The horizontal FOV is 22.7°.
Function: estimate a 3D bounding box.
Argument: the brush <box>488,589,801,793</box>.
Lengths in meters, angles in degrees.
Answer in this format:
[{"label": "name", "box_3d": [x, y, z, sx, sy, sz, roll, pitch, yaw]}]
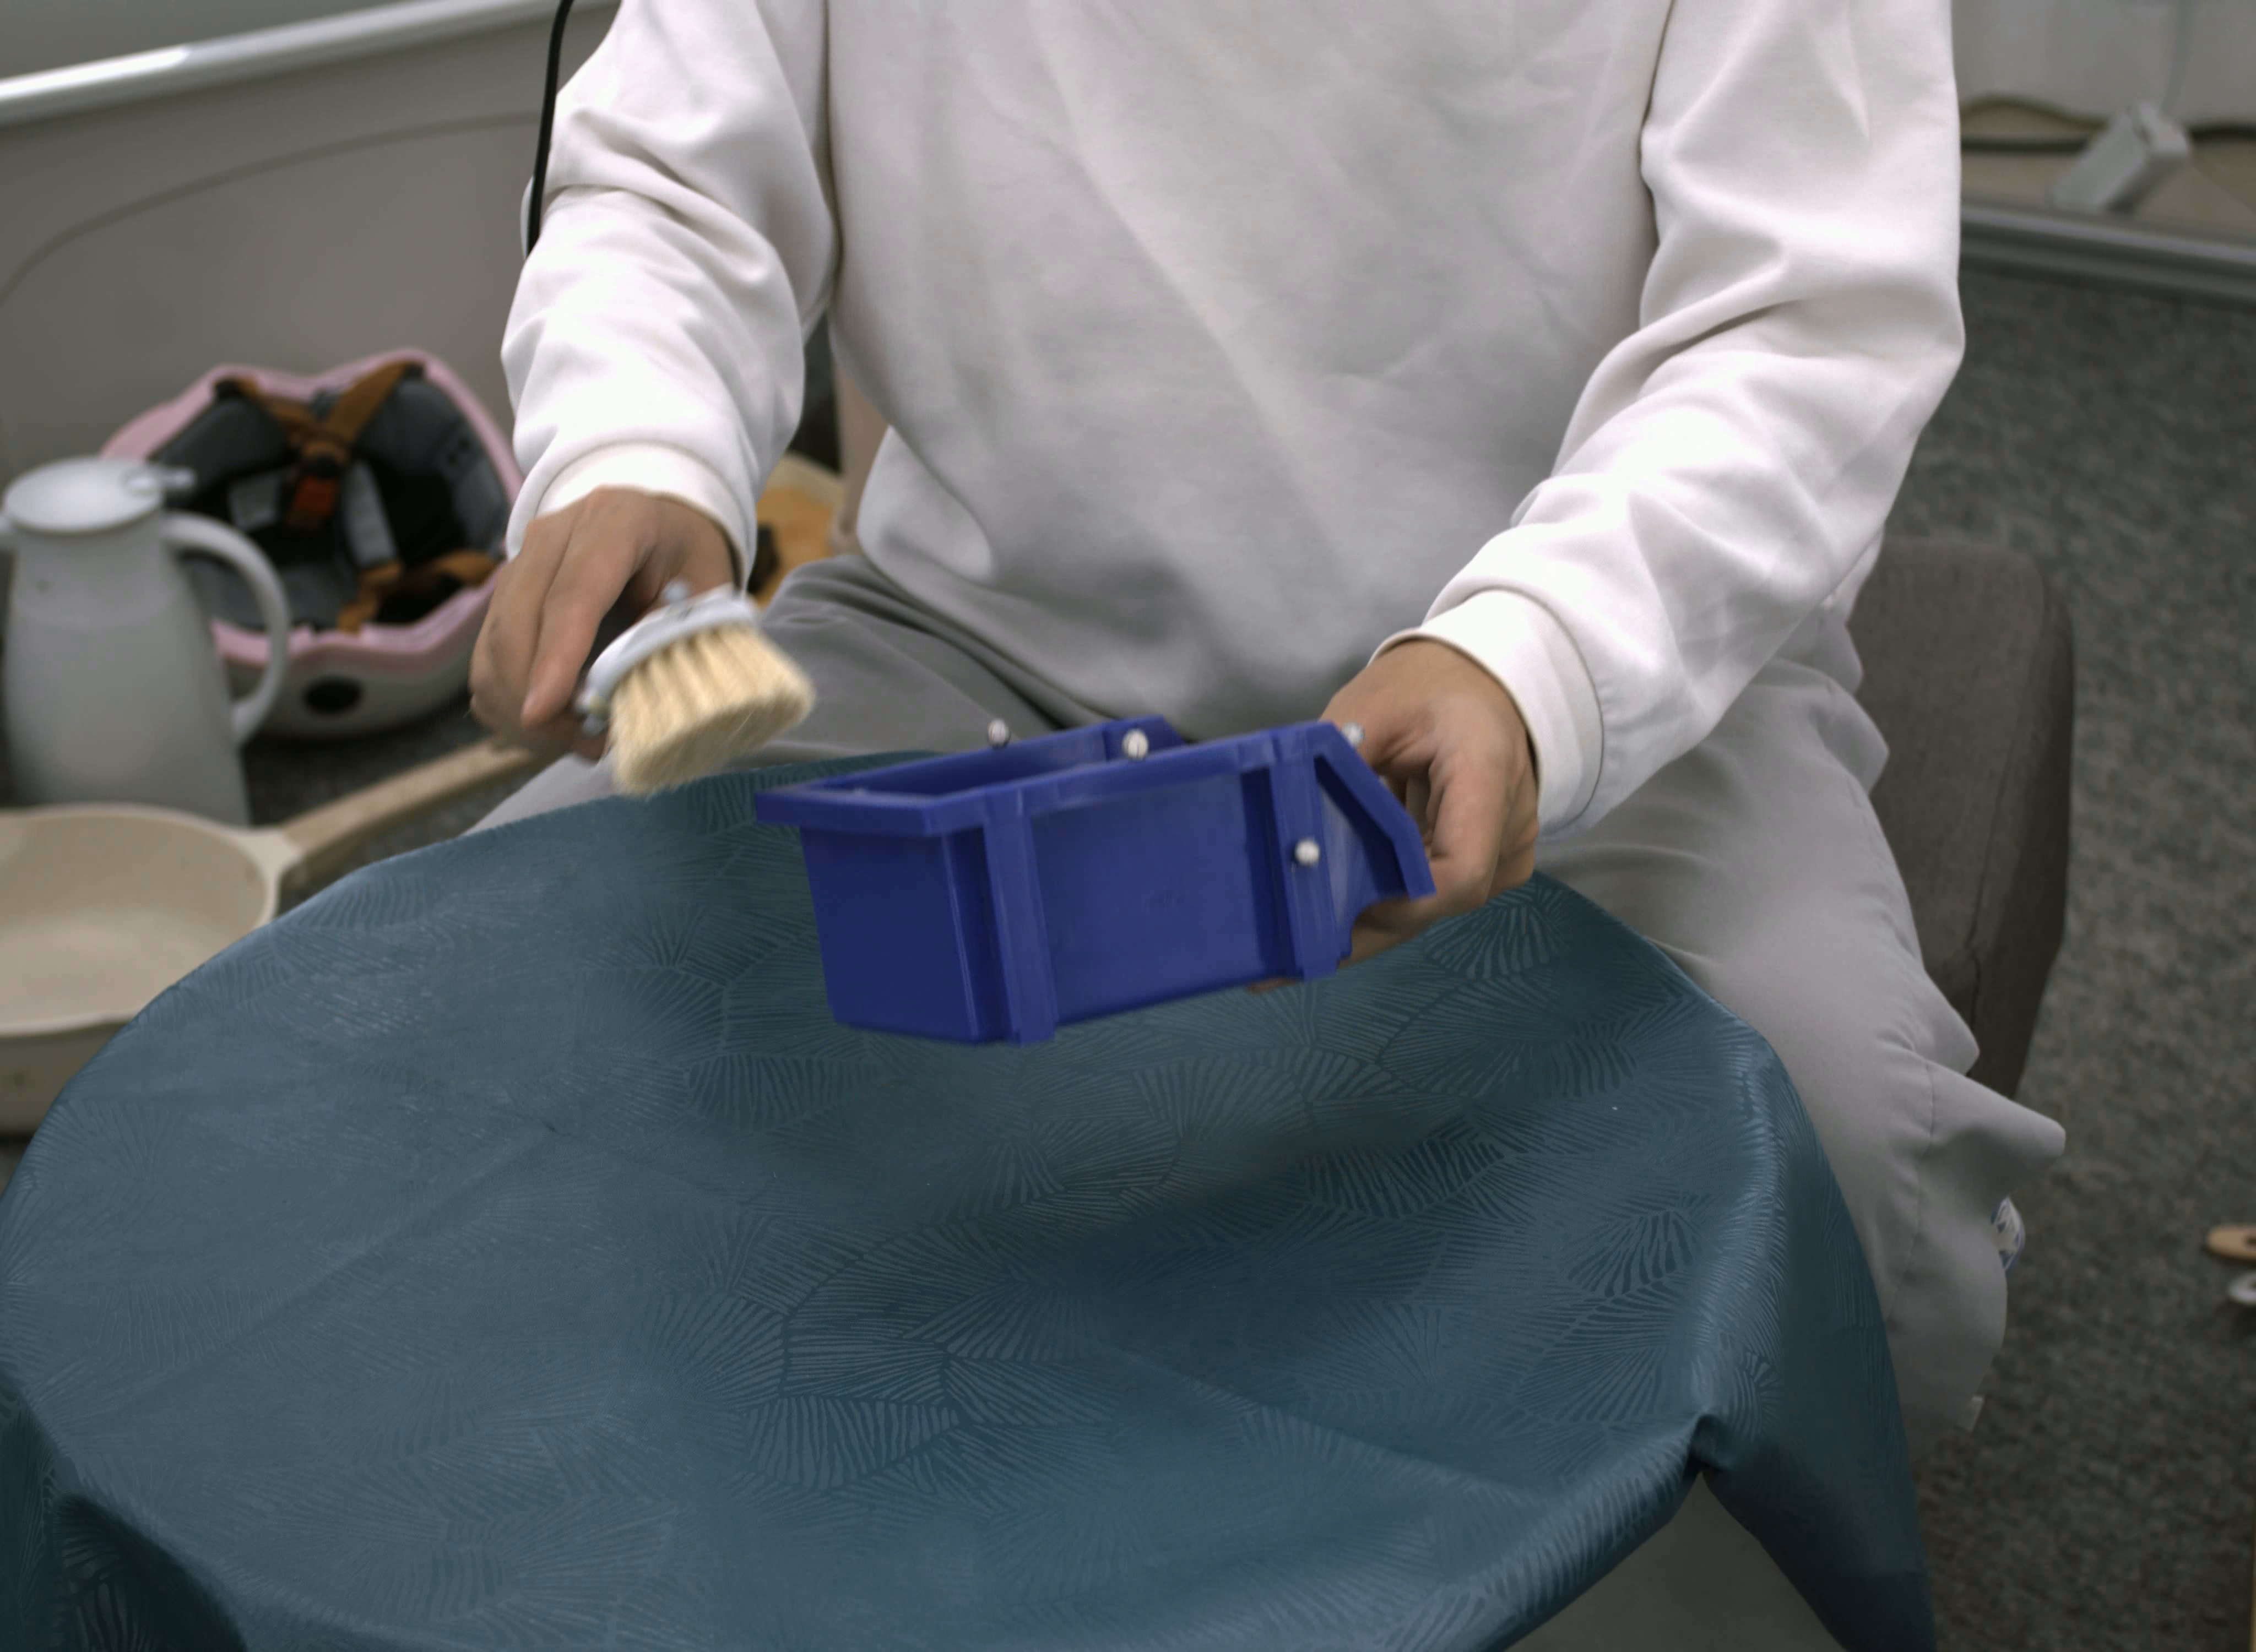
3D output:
[{"label": "brush", "box_3d": [-0.173, -0.029, 1.916, 0.068, 0.056, 0.264, -8, -6, -20]}]

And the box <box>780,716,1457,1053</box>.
[{"label": "box", "box_3d": [-0.003, 0.015, 1.816, 0.180, 0.082, 0.123, -14, 8, -29]}]
